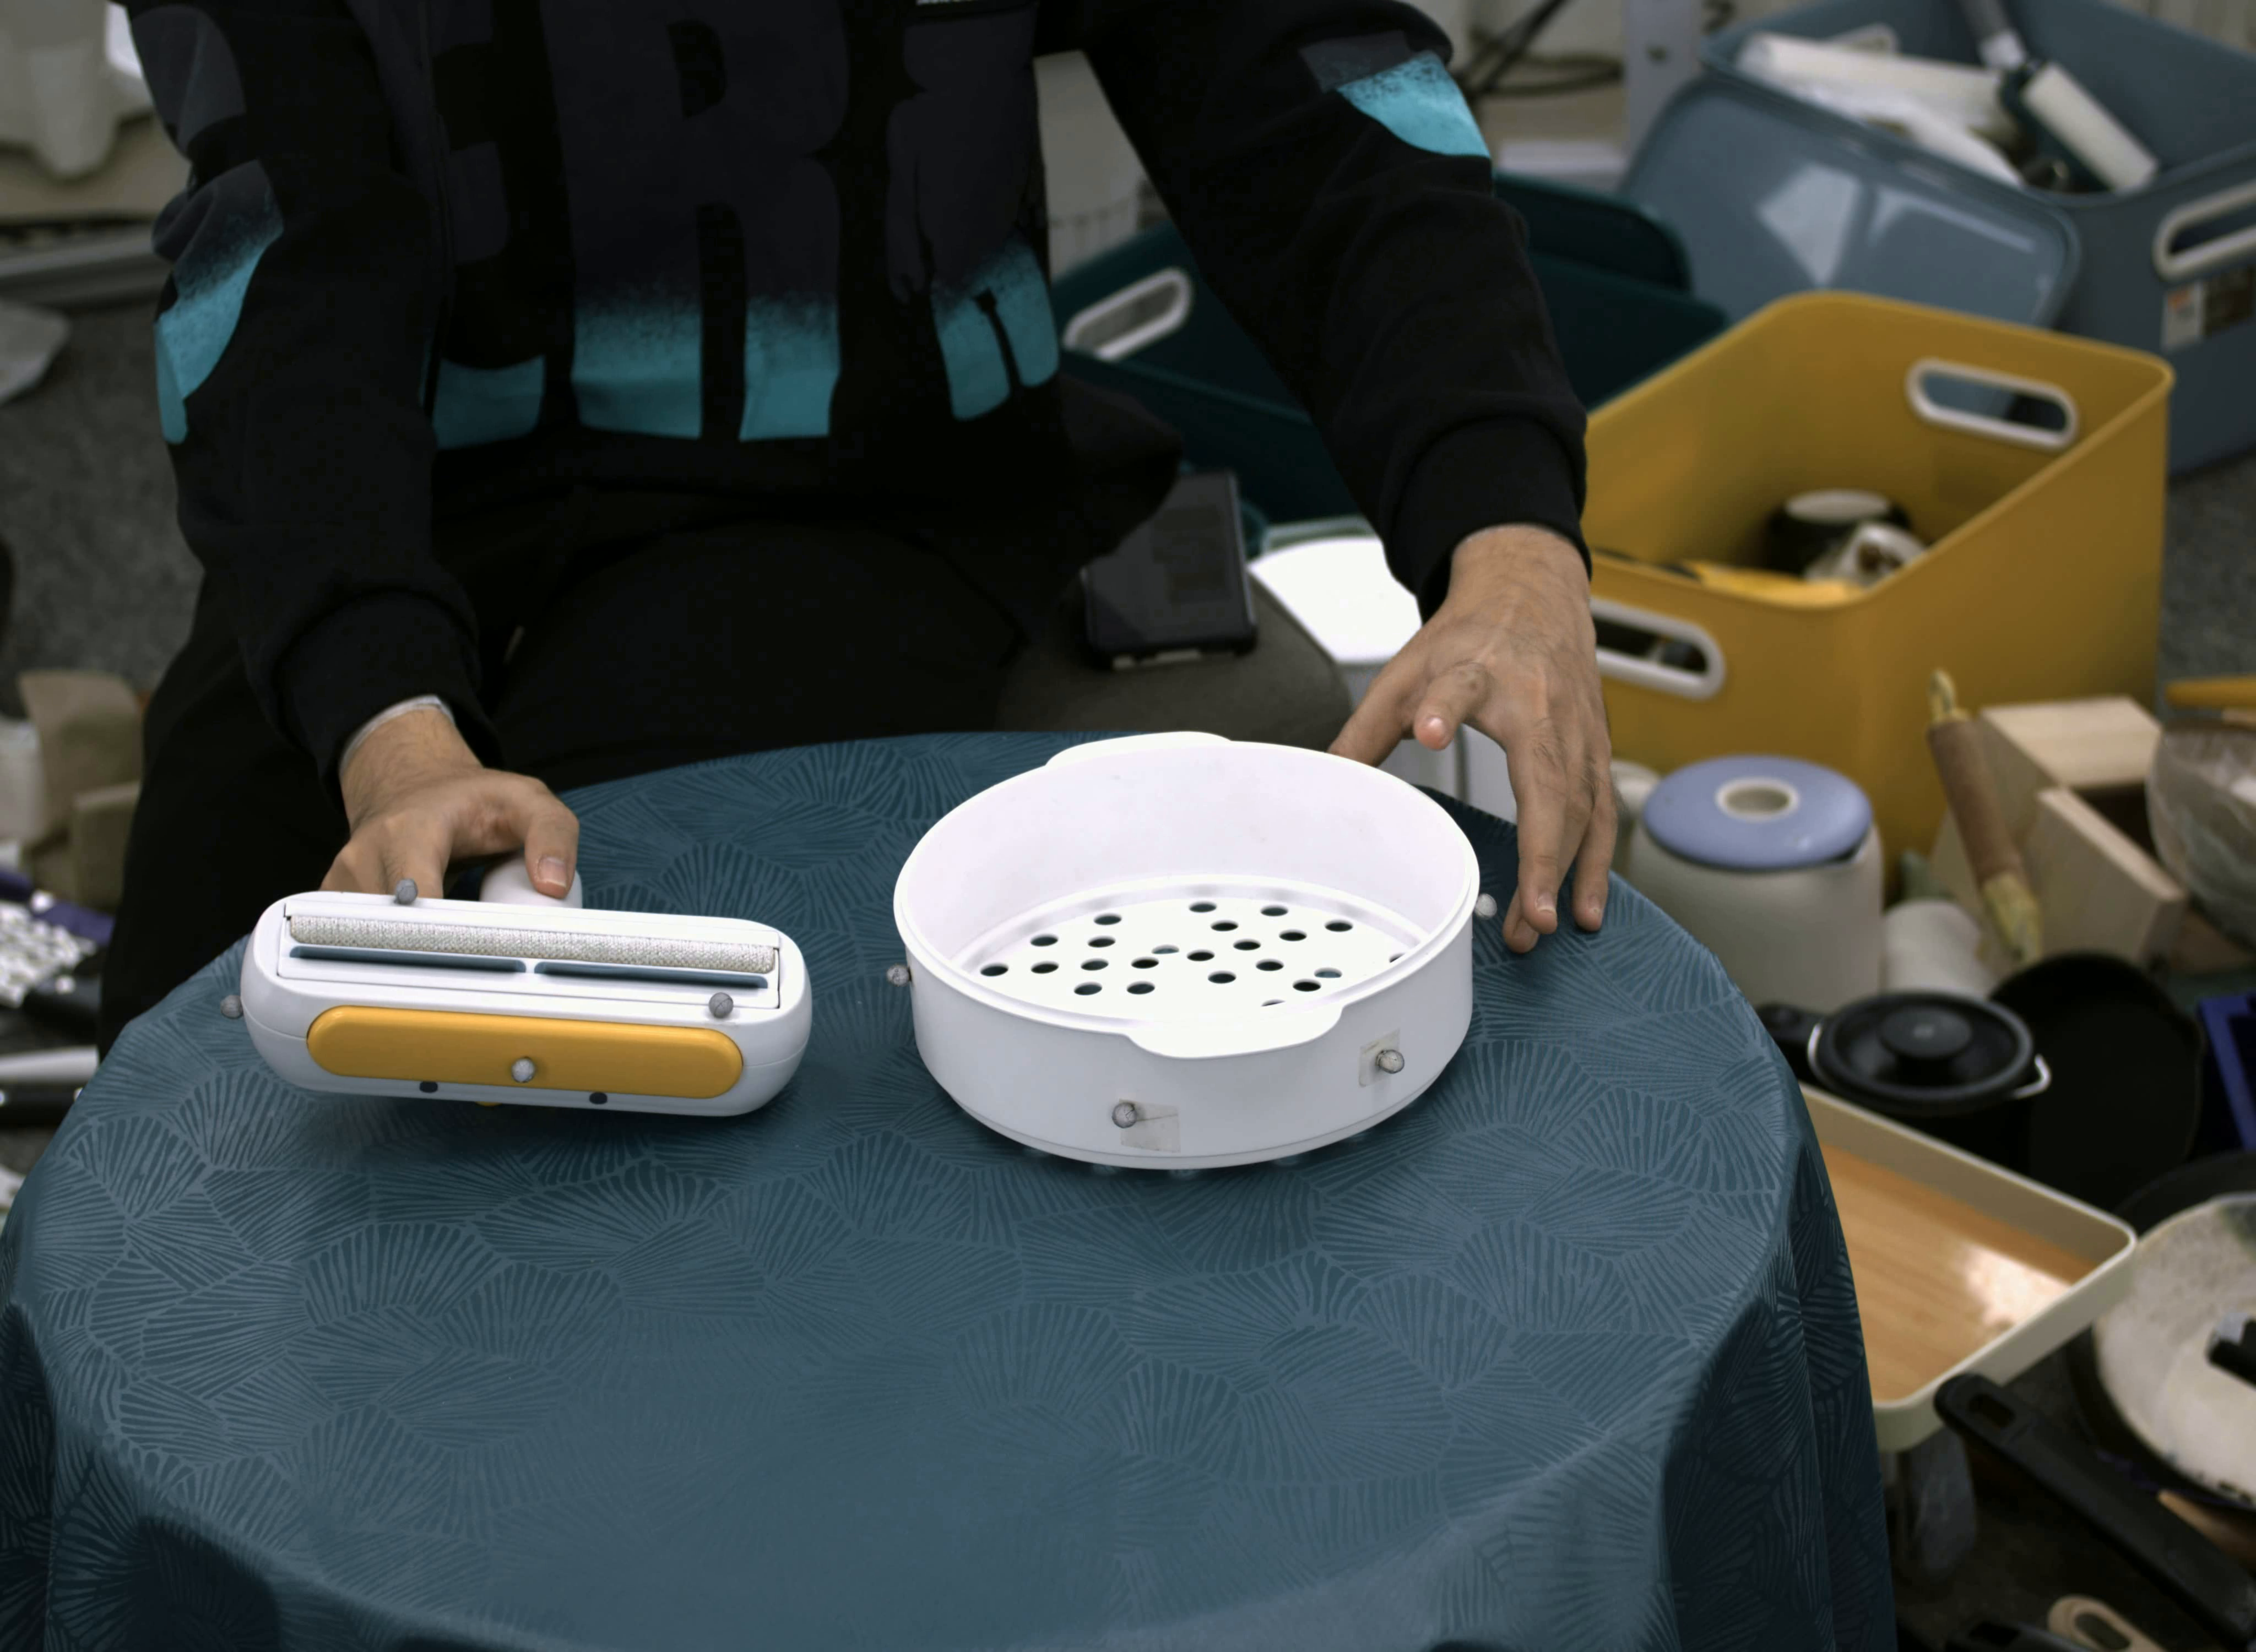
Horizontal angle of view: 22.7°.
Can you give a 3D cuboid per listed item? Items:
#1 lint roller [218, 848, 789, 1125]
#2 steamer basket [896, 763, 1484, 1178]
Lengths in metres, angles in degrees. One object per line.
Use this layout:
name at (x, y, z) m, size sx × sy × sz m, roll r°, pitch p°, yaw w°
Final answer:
lint roller at (-0.212, 0.042, 1.963) m, size 0.192 × 0.073 × 0.195 m, roll 2°, pitch 26°, yaw -2°
steamer basket at (0.022, 0.051, 1.928) m, size 0.201 × 0.068 × 0.233 m, roll -5°, pitch 25°, yaw -7°
